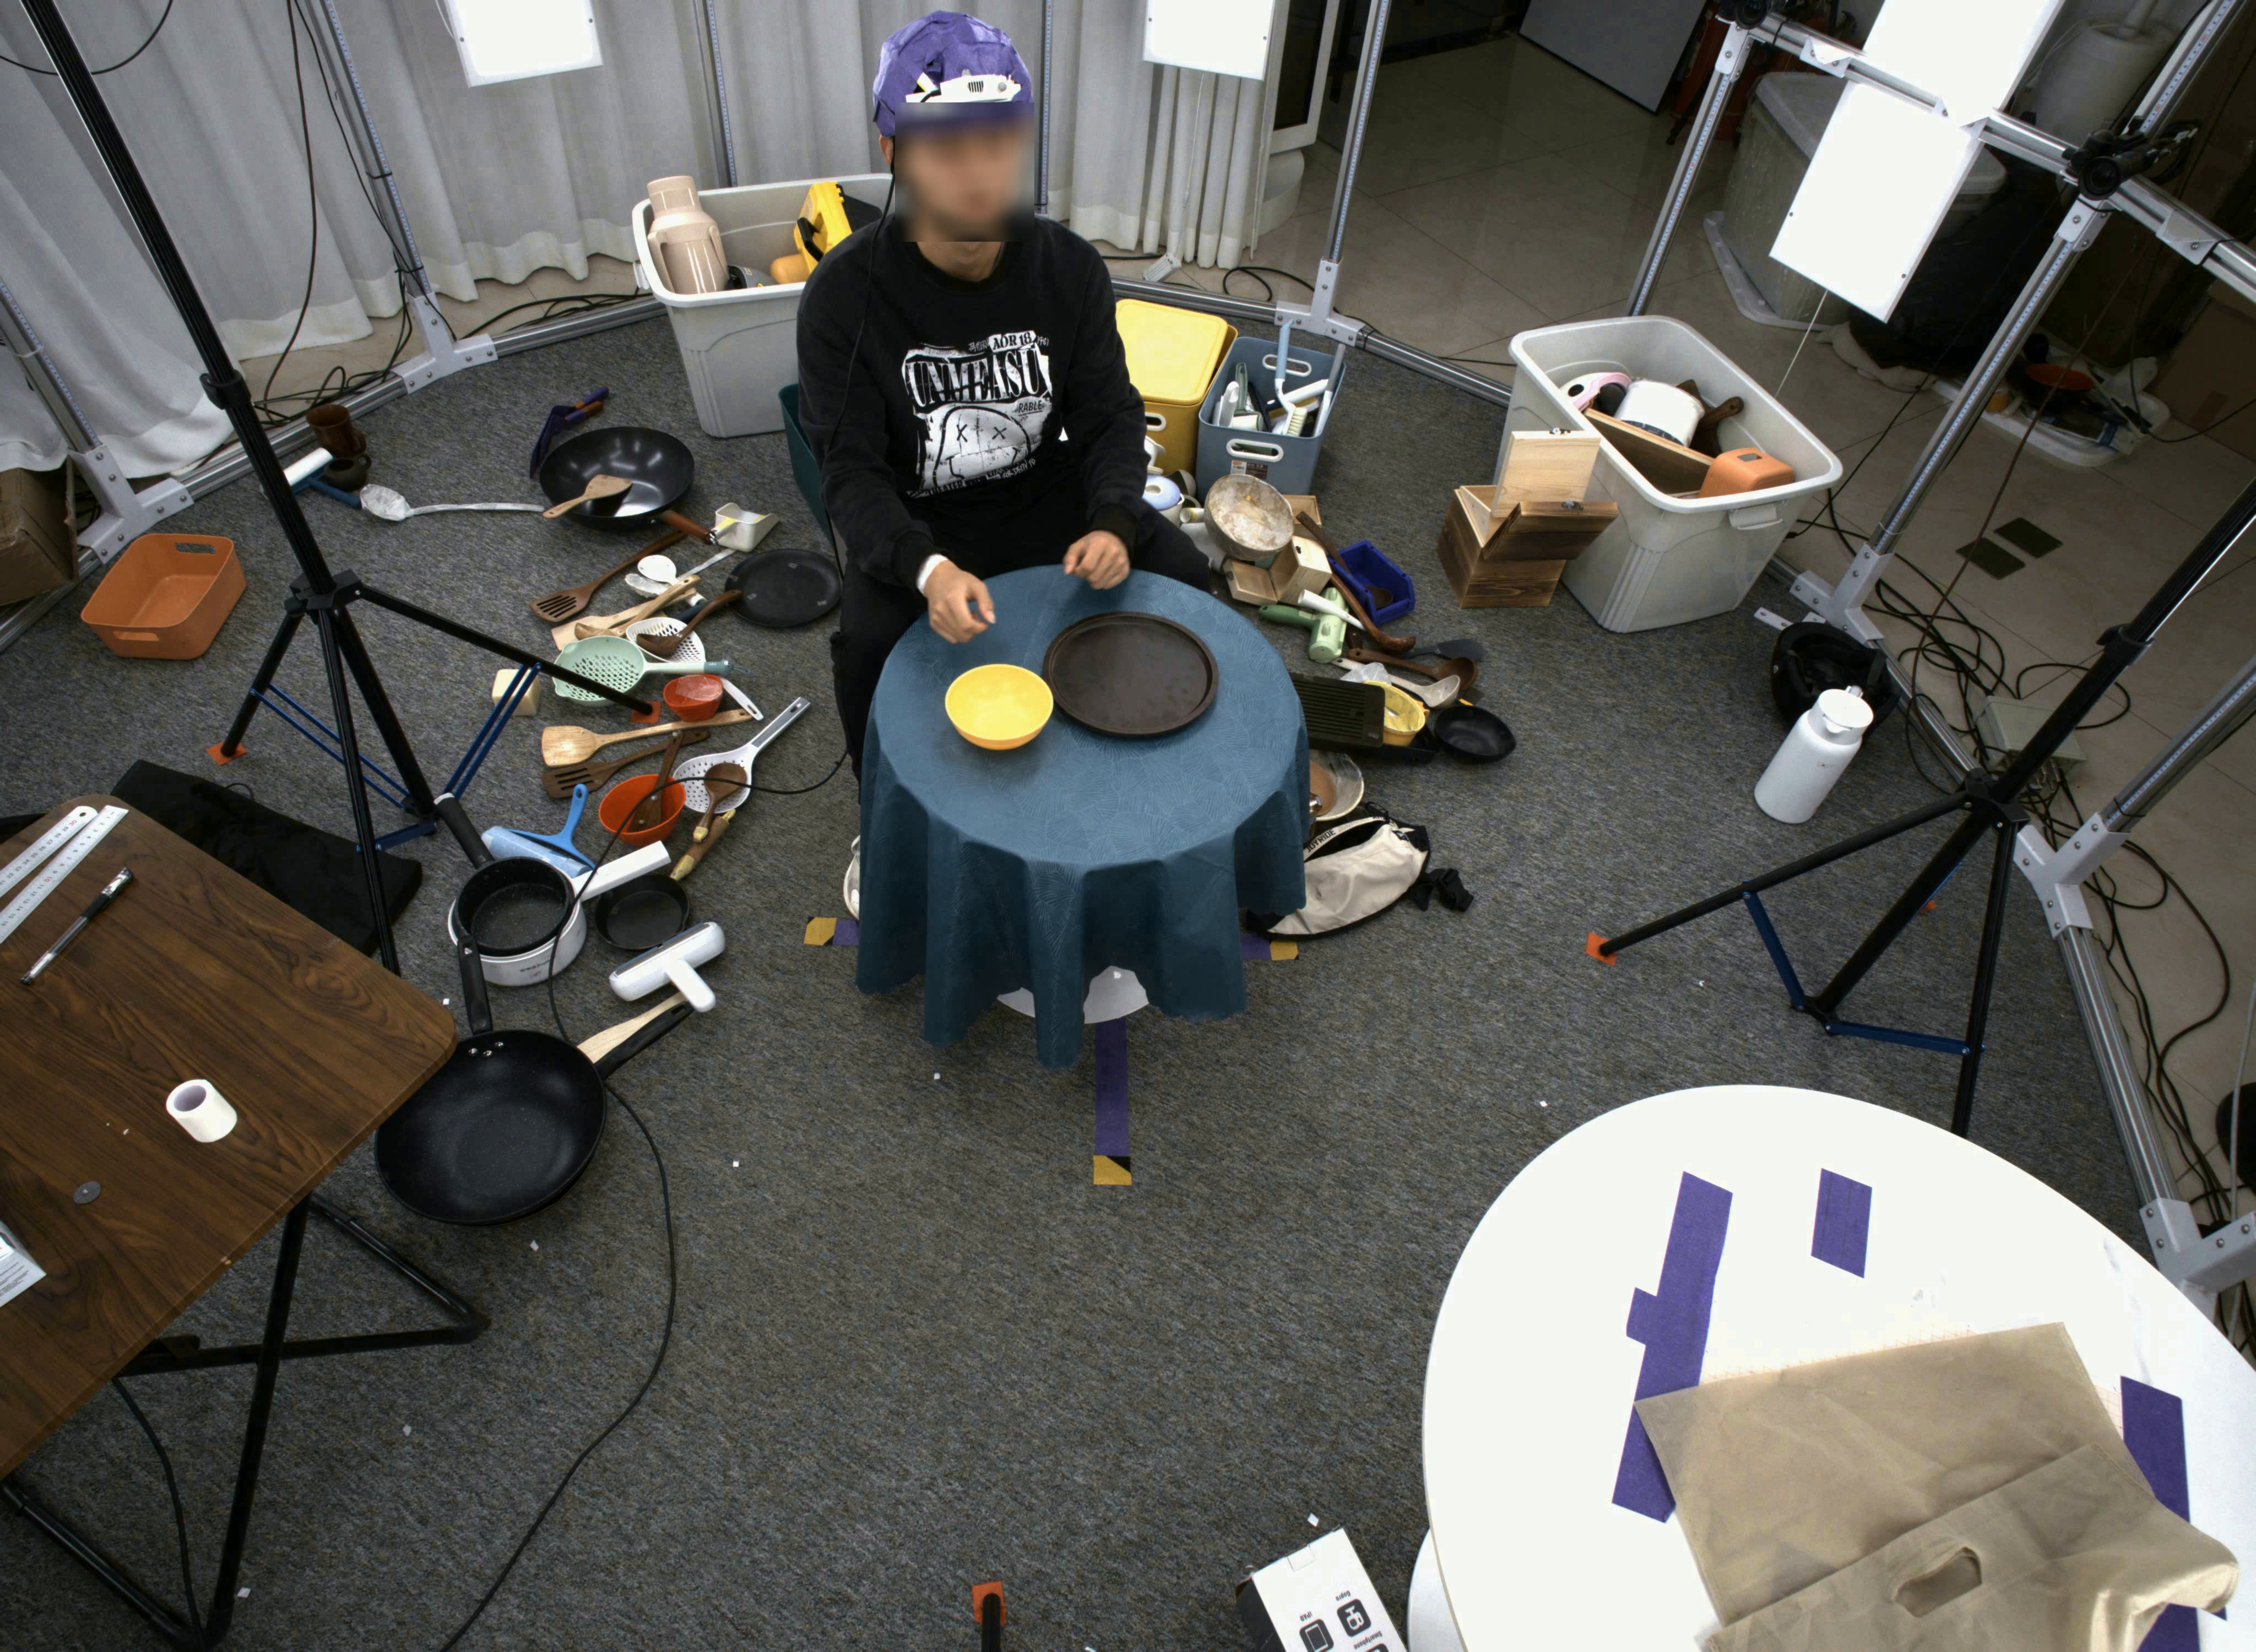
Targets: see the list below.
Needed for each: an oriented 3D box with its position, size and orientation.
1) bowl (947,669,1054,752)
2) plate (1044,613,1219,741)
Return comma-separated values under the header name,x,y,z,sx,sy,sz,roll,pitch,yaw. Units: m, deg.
name,x,y,z,sx,sy,sz,roll,pitch,yaw
bowl,-0.175,-0.147,1.765,0.145,0.058,0.149,2,46,-3
plate,0.005,-0.217,1.859,0.254,0.028,0.261,1,49,-1
